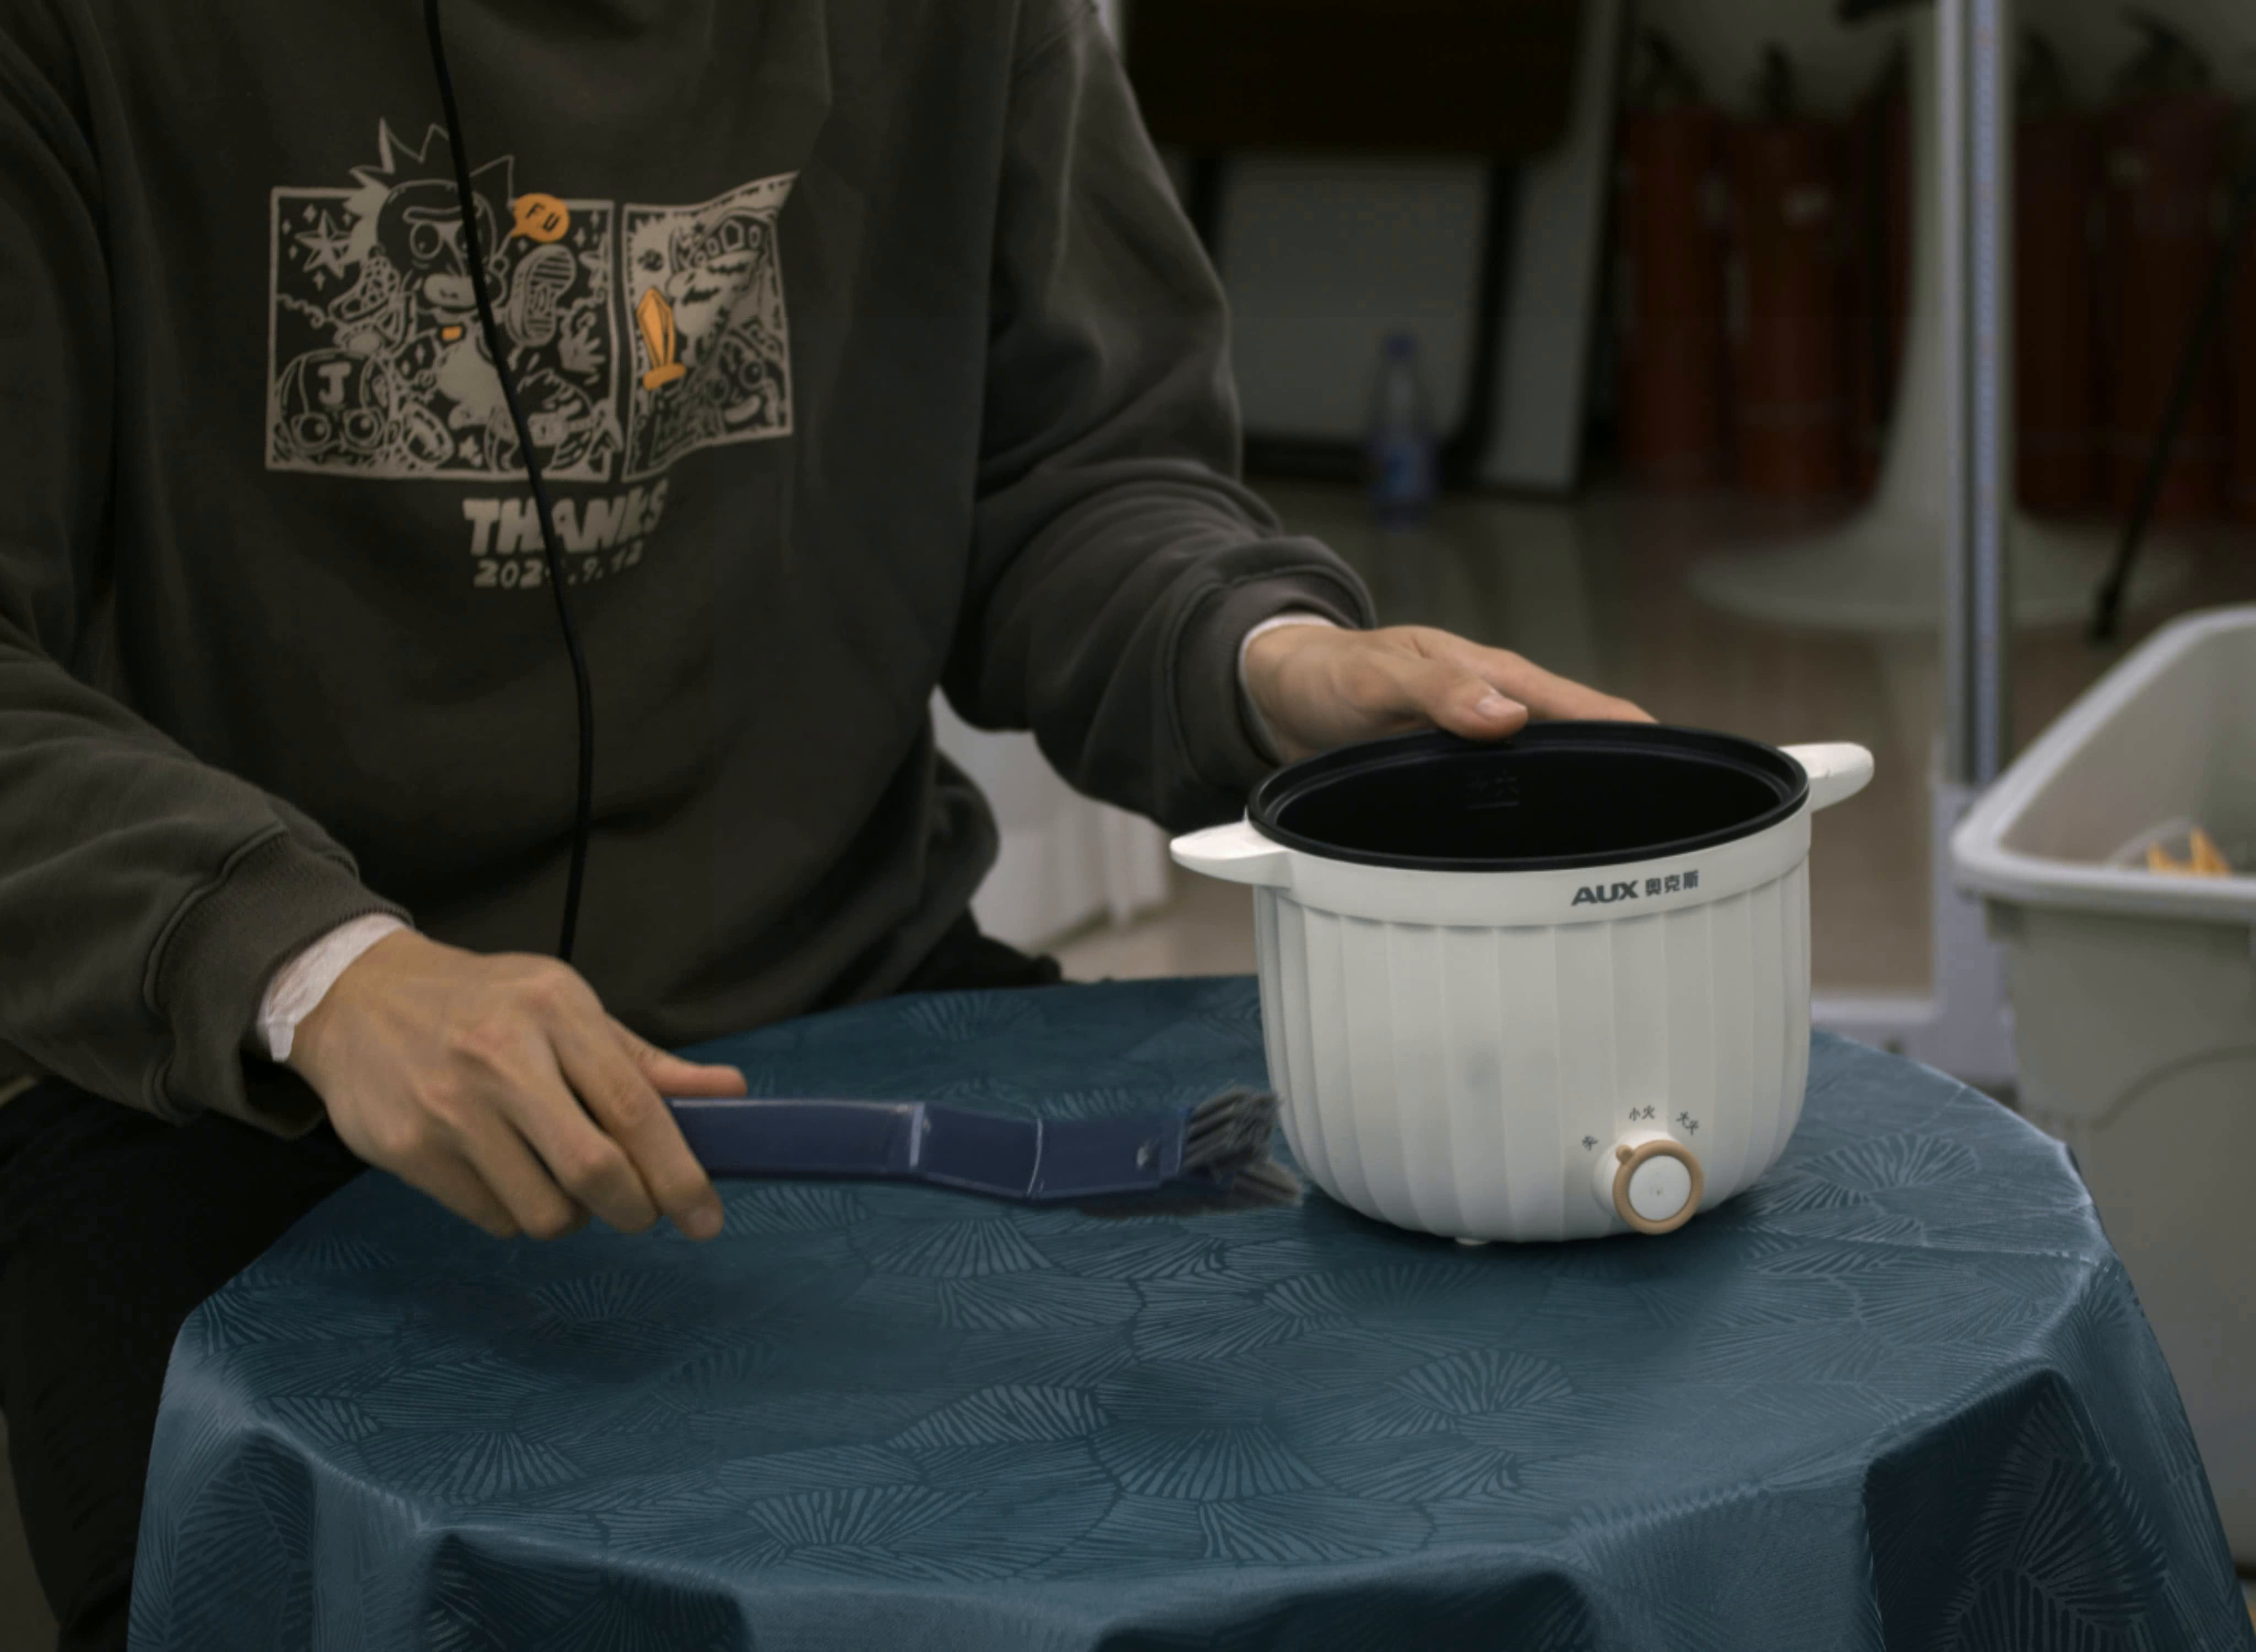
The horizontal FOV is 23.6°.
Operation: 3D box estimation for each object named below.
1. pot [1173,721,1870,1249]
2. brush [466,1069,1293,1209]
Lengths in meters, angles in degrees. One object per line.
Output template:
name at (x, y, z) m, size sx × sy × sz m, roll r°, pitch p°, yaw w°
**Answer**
pot at (0.134, 0.052, 1.725) m, size 0.236 × 0.144 × 0.192 m, roll -9°, pitch 11°, yaw -16°
brush at (-0.082, 0.088, 1.603) m, size 0.272 × 0.034 × 0.095 m, roll 2°, pitch -23°, yaw 19°
